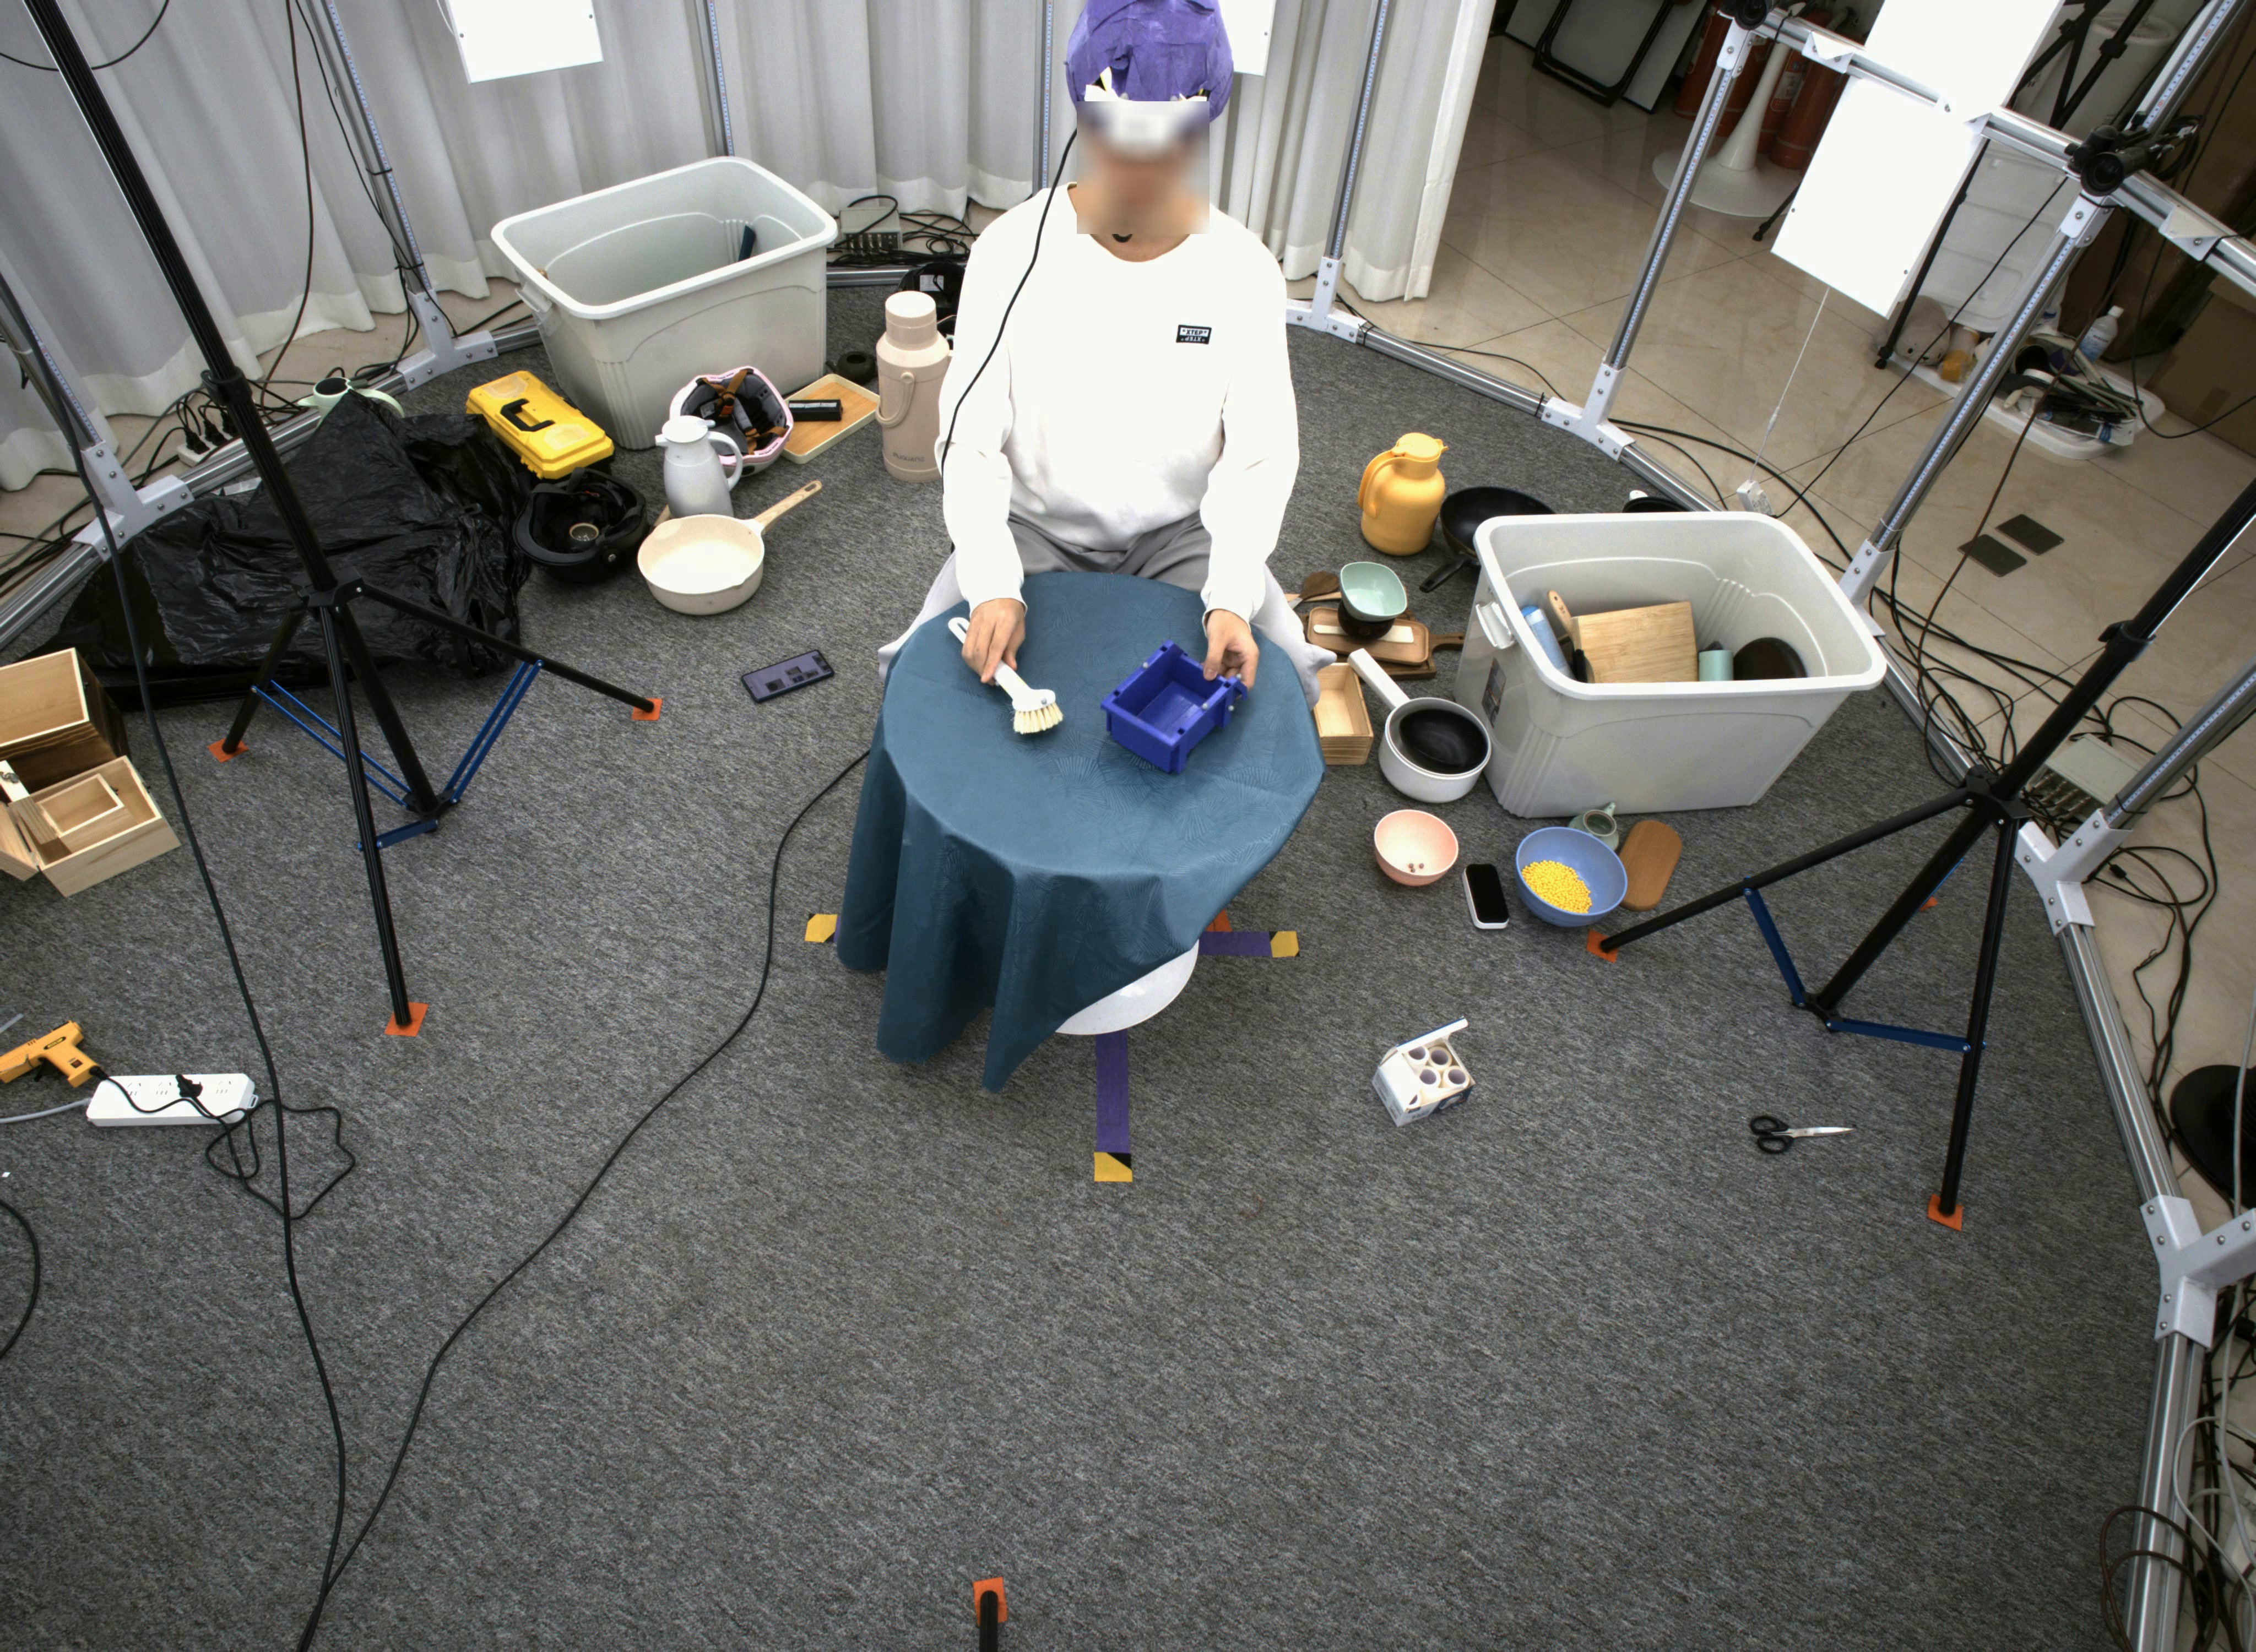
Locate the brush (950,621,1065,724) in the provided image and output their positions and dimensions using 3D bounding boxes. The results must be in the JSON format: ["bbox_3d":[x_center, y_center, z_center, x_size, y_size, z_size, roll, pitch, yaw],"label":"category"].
[{"bbox_3d":[-0.177,-0.215,1.818,0.068,0.055,0.271,-17,39,-32],"label":"brush"}]

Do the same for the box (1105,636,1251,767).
[{"bbox_3d":[0.069,-0.176,1.757,0.126,0.080,0.181,32,60,23],"label":"box"}]
